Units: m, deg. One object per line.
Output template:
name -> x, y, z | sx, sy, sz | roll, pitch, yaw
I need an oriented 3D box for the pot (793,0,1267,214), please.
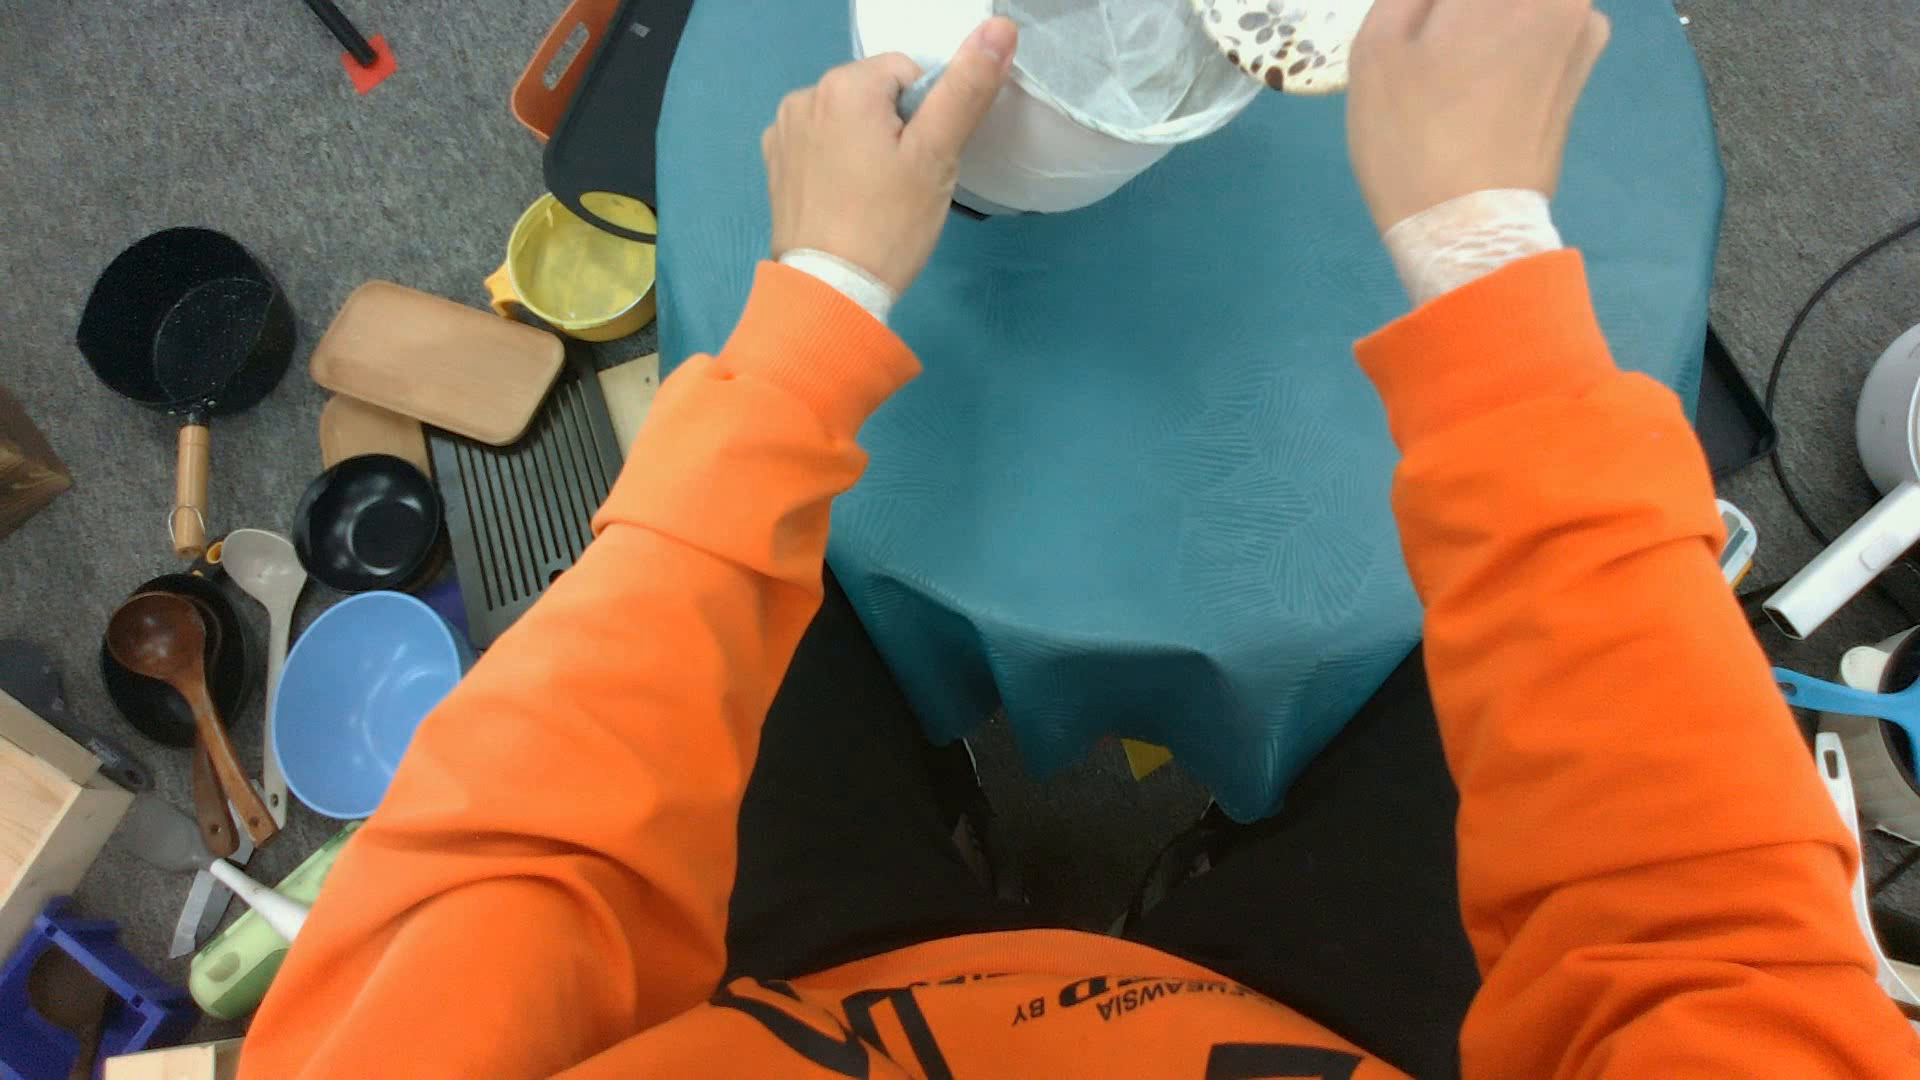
pot -> 0.021, -0.244, 0.652 | 0.178, 0.136, 0.234 | 47, 66, -14

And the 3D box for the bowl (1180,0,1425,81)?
bowl -> 0.159, -0.293, 0.547 | 0.078, 0.203, 0.204 | -16, 73, -24
